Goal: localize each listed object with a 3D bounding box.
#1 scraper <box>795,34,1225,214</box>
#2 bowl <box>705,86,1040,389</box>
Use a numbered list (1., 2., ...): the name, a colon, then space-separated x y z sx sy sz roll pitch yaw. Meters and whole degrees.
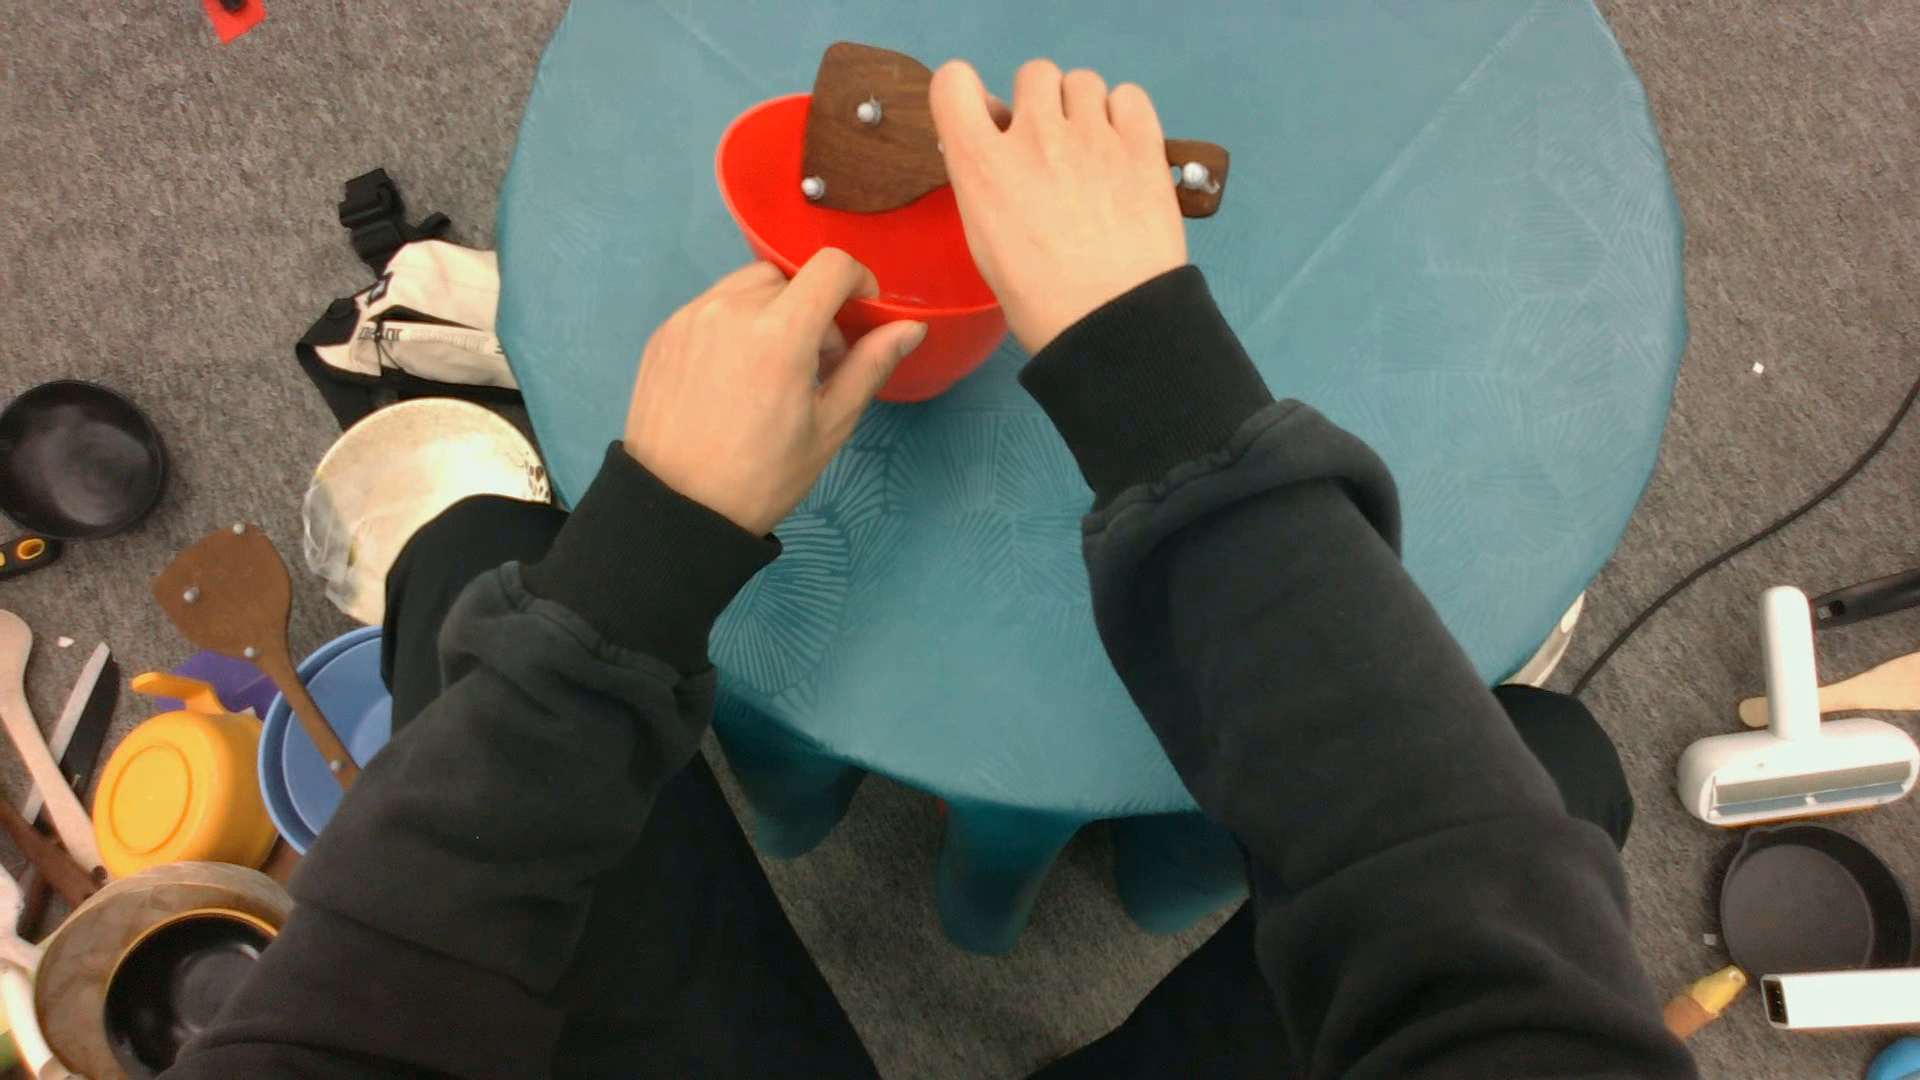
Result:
1. scraper: 0.015 -0.166 0.578 0.211 0.011 0.075 19 101 32
2. bowl: -0.042 -0.128 0.629 0.148 0.104 0.148 5 50 -6
